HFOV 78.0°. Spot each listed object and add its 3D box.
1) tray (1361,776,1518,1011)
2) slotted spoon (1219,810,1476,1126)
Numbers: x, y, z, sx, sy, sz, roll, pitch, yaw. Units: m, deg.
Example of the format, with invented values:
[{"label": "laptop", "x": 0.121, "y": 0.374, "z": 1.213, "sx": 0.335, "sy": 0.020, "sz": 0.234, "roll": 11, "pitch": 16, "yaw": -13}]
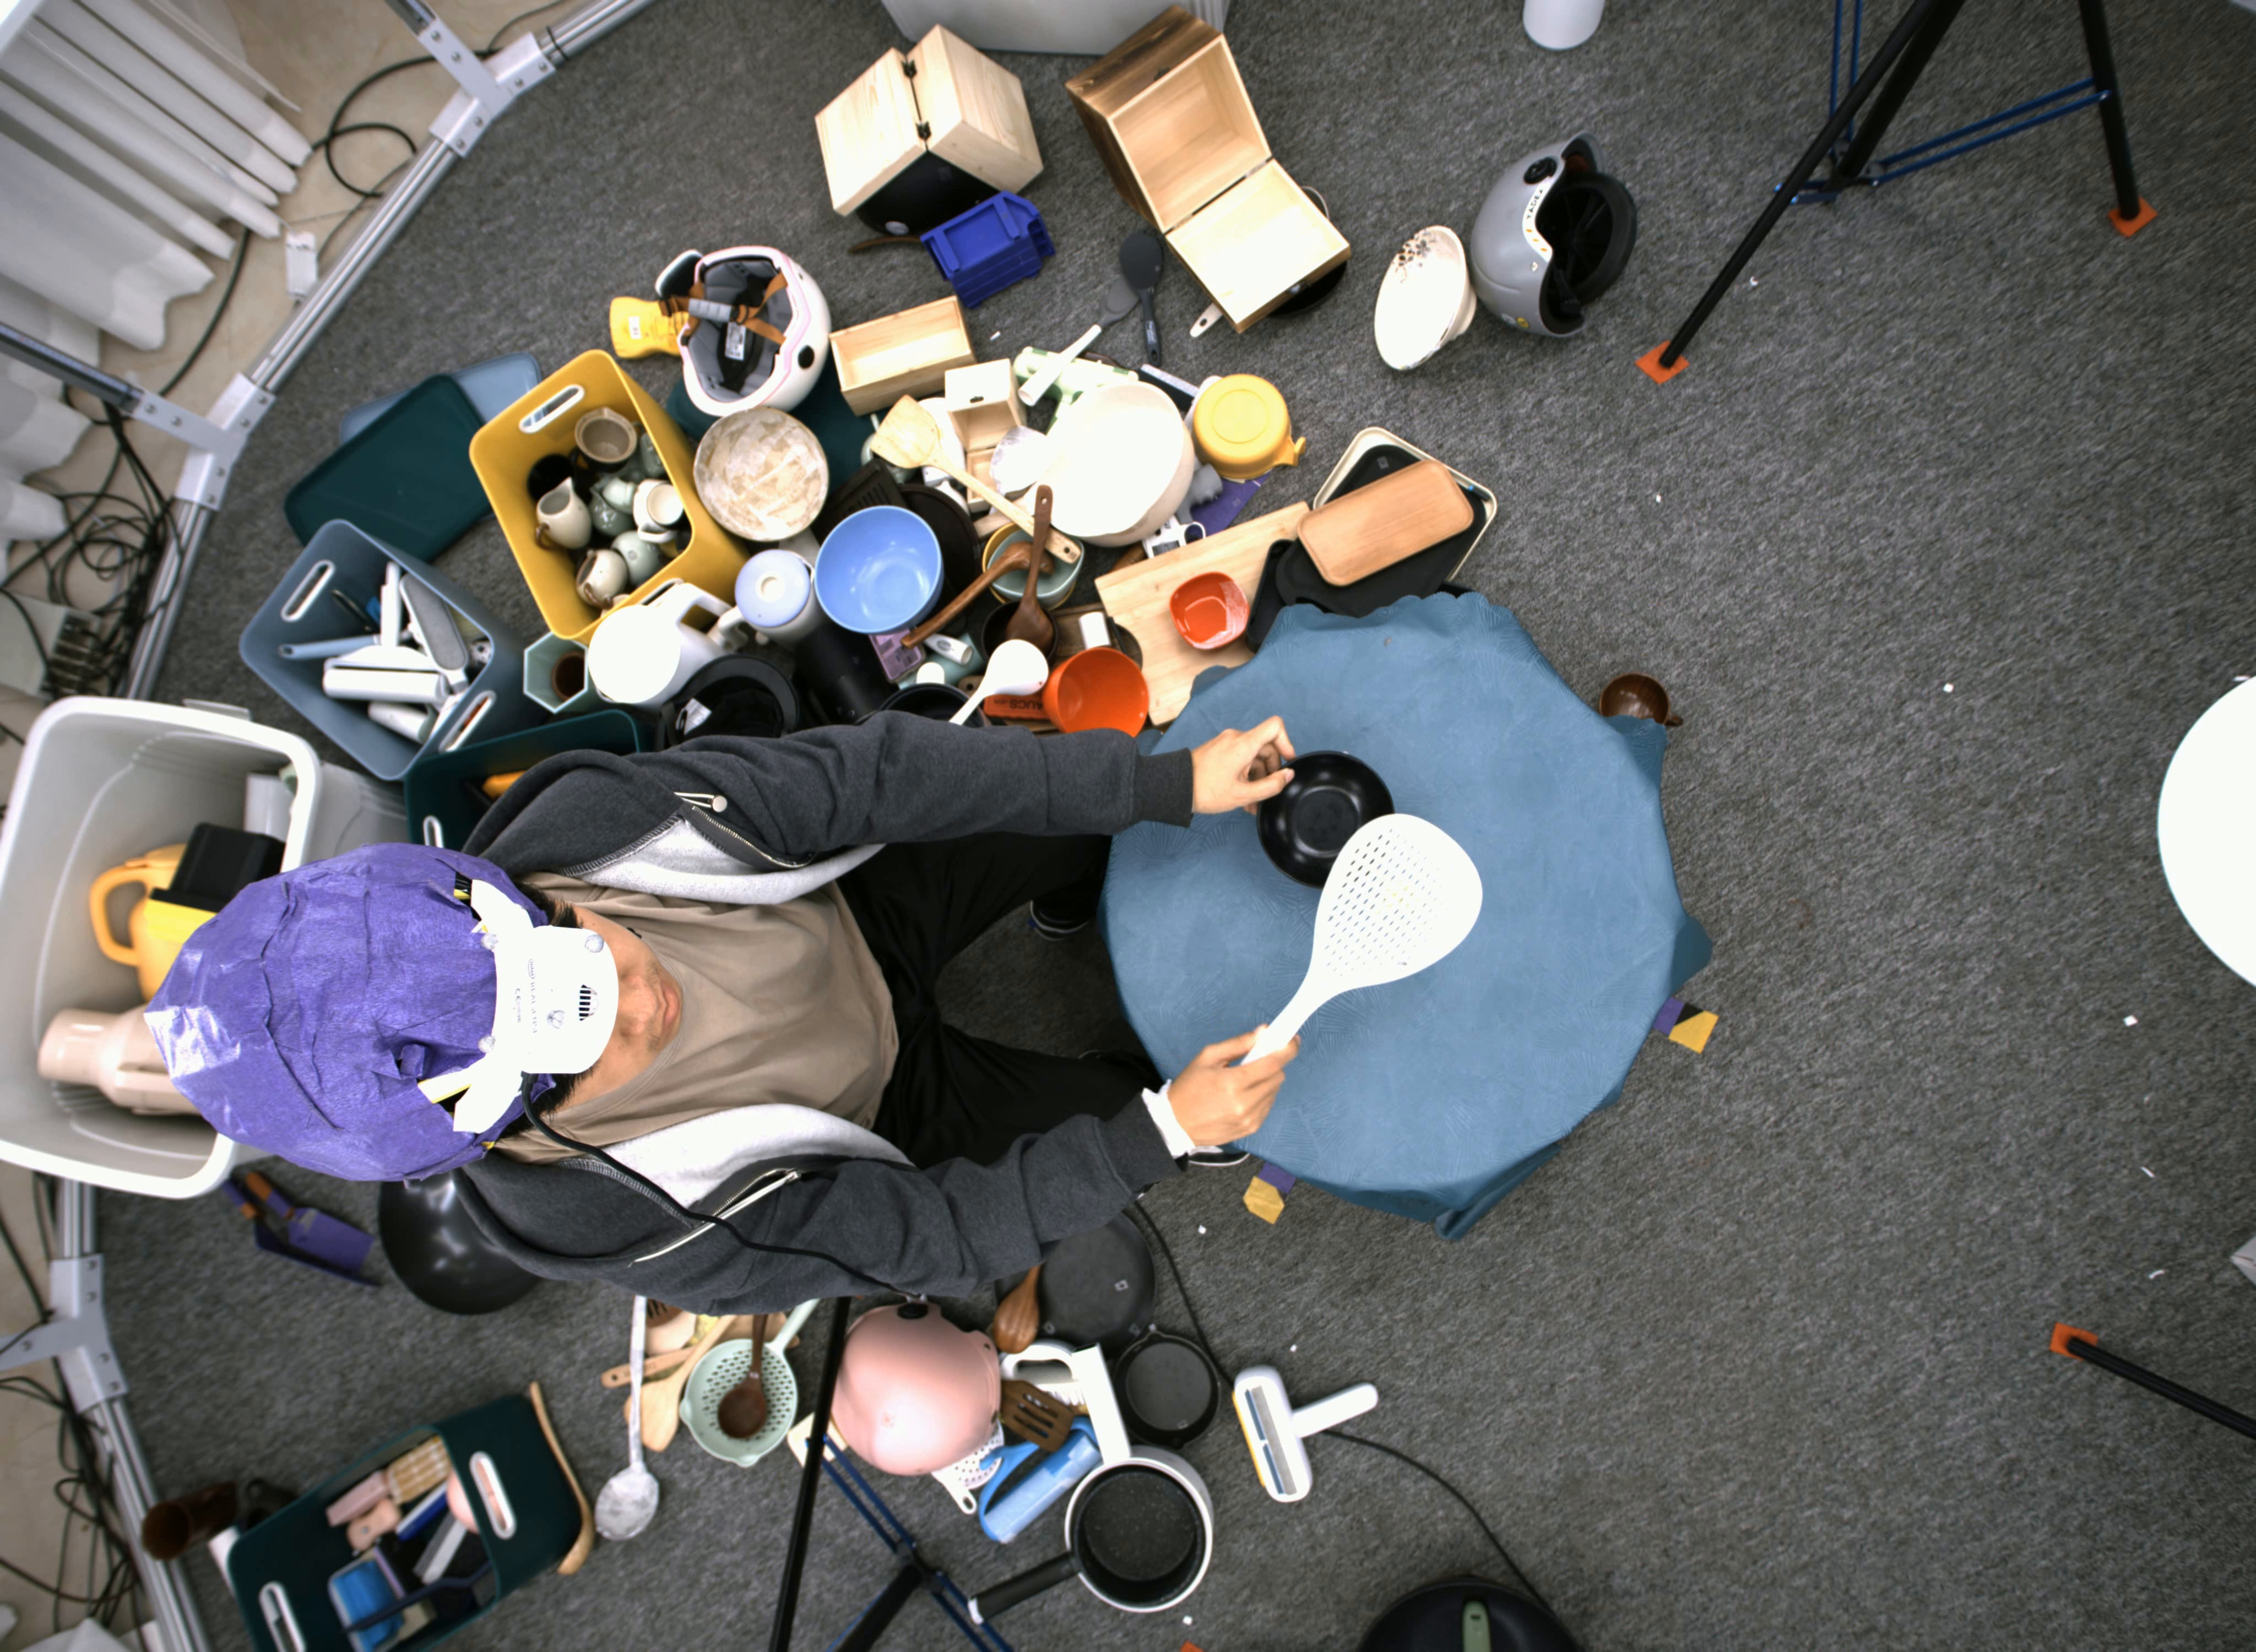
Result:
[{"label": "tray", "x": 0.414, "y": 0.094, "z": 1.987, "sx": 0.191, "sy": 0.027, "sz": 0.300, "roll": 27, "pitch": 91, "yaw": 11}, {"label": "slotted spoon", "x": 0.185, "y": 0.141, "z": 1.292, "sx": 0.136, "sy": 0.050, "sz": 0.350, "roll": 41, "pitch": 100, "yaw": 17}]
